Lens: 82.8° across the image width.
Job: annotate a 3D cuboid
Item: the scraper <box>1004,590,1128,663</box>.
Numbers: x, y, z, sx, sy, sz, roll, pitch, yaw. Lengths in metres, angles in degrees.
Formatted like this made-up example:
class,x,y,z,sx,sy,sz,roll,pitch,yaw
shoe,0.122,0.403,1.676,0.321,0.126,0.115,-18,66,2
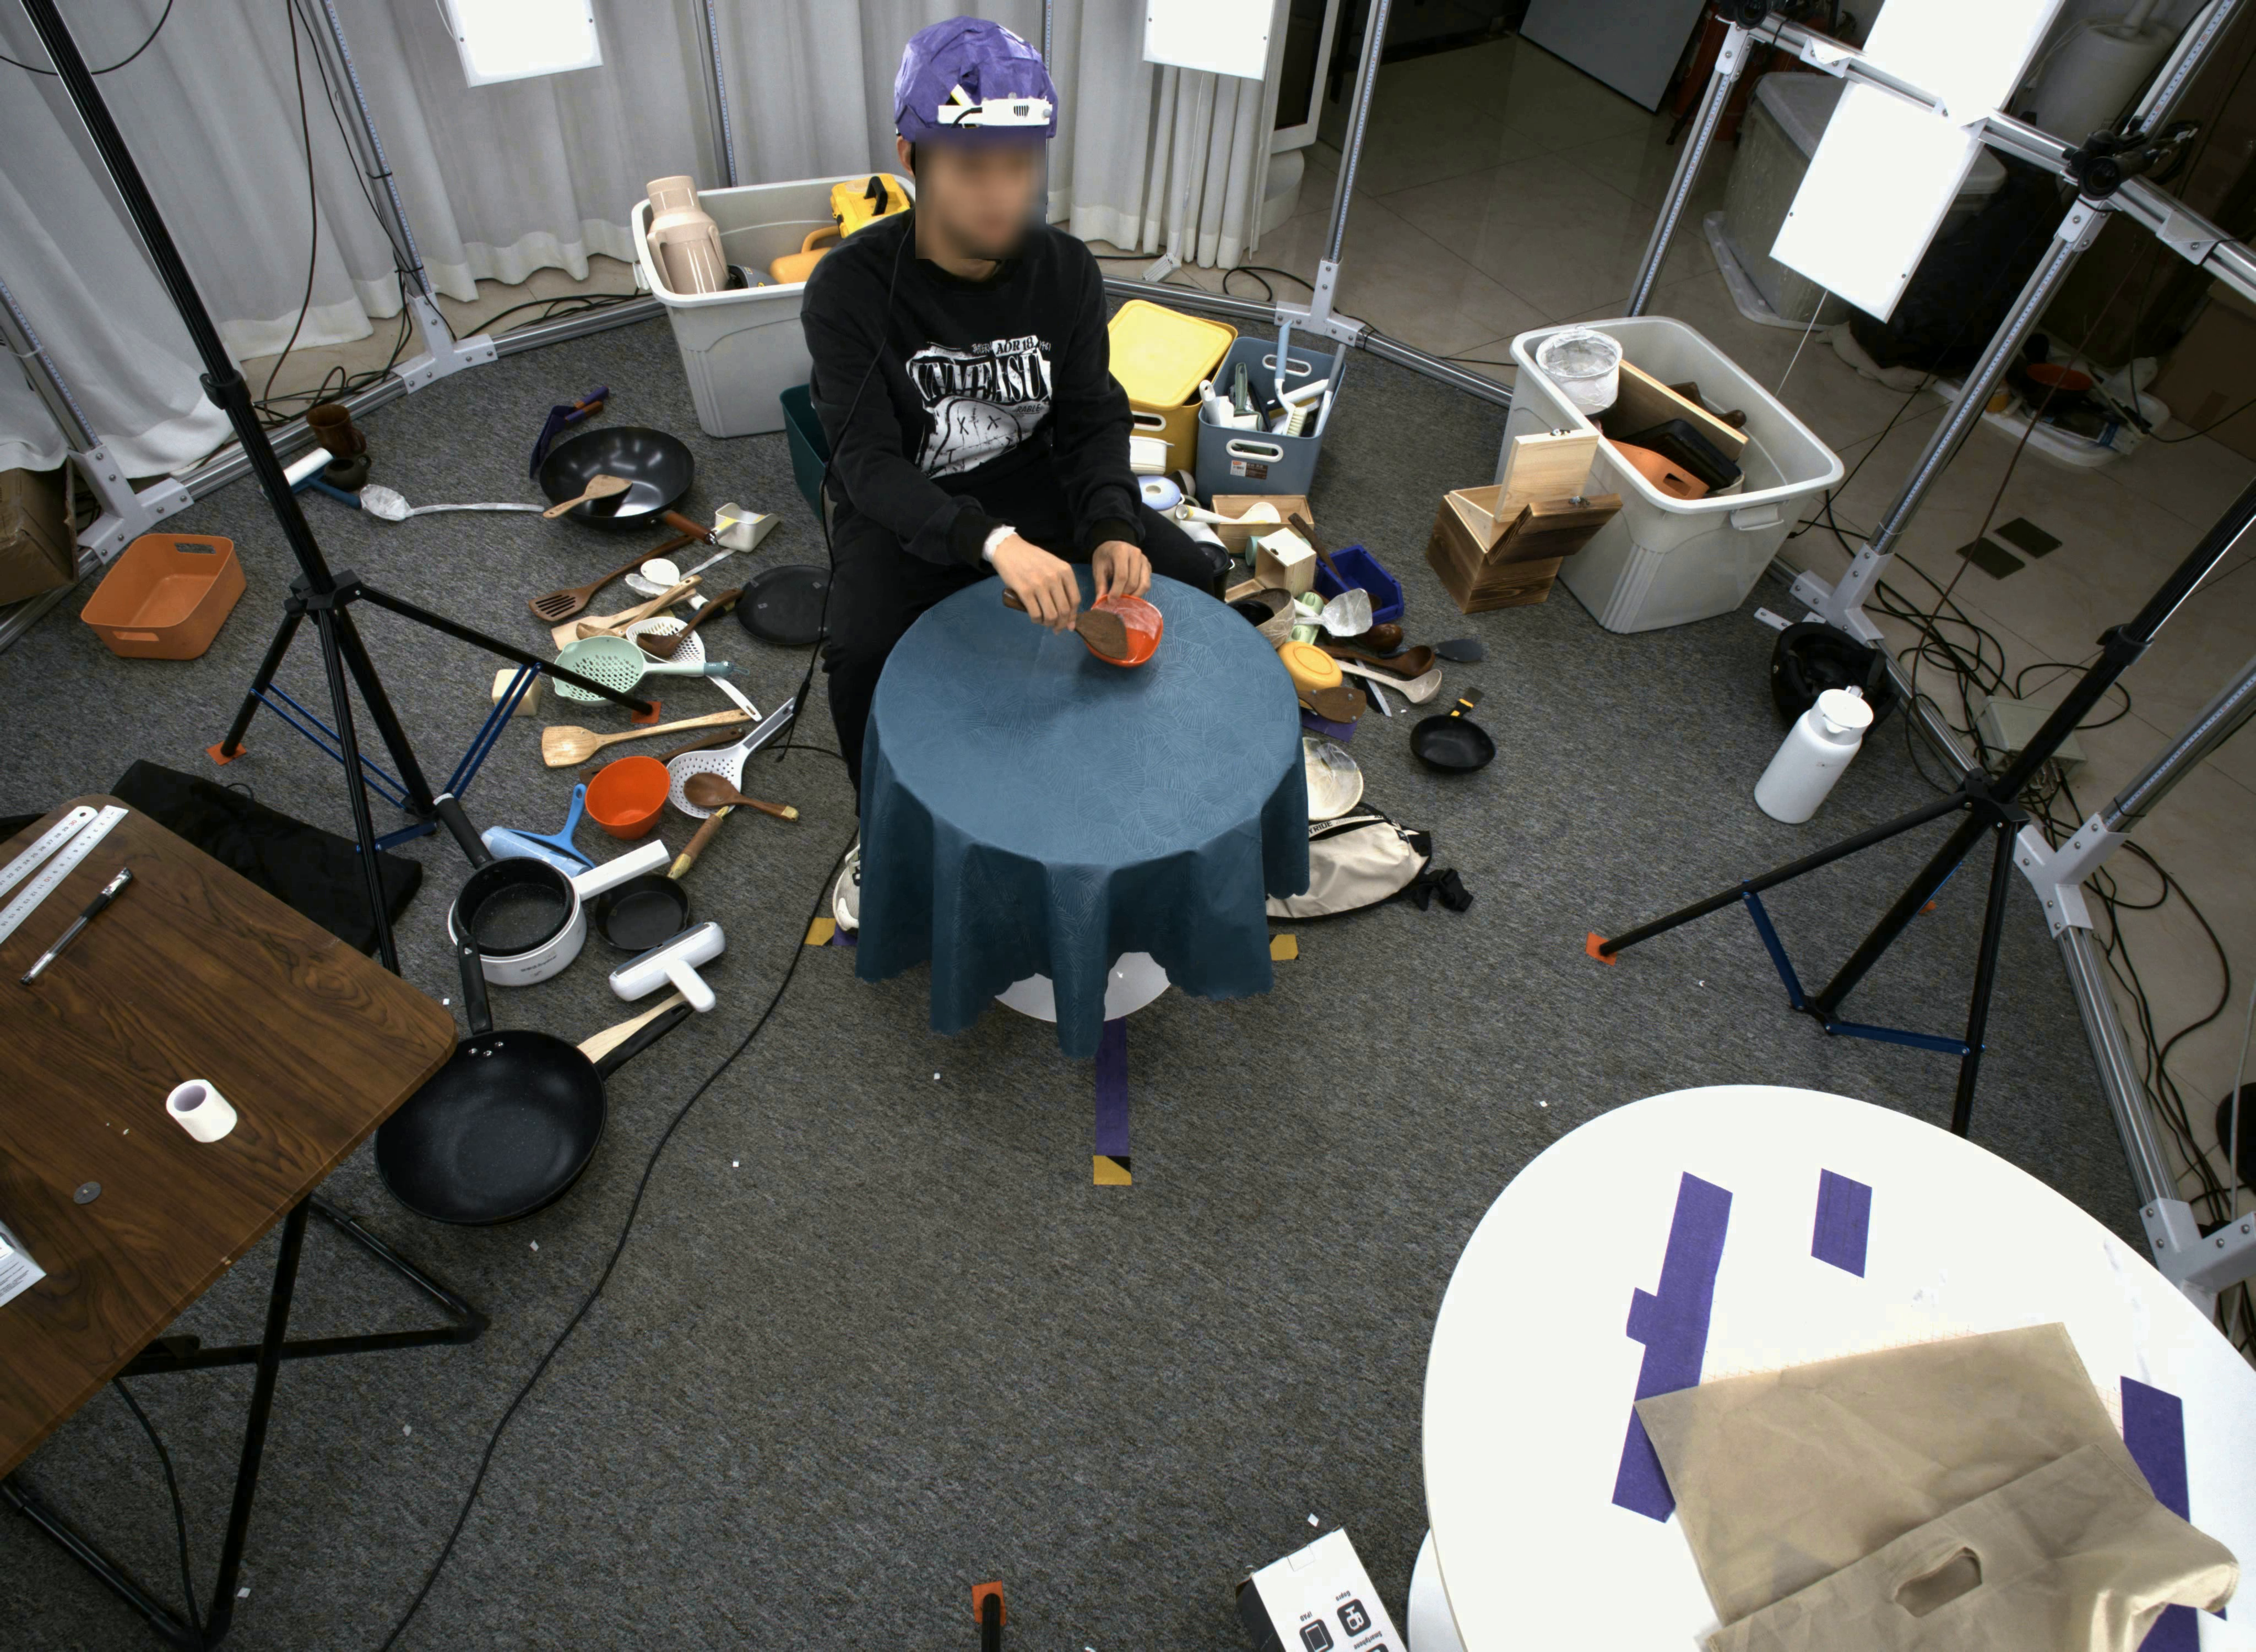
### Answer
class,x,y,z,sx,sy,sz,roll,pitch,yaw
scraper,-0.085,-0.286,1.795,0.209,0.011,0.077,16,56,-35

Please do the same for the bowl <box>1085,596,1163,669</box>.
class,x,y,z,sx,sy,sz,roll,pitch,yaw
bowl,-0.008,-0.275,1.880,0.119,0.050,0.121,2,68,-4
